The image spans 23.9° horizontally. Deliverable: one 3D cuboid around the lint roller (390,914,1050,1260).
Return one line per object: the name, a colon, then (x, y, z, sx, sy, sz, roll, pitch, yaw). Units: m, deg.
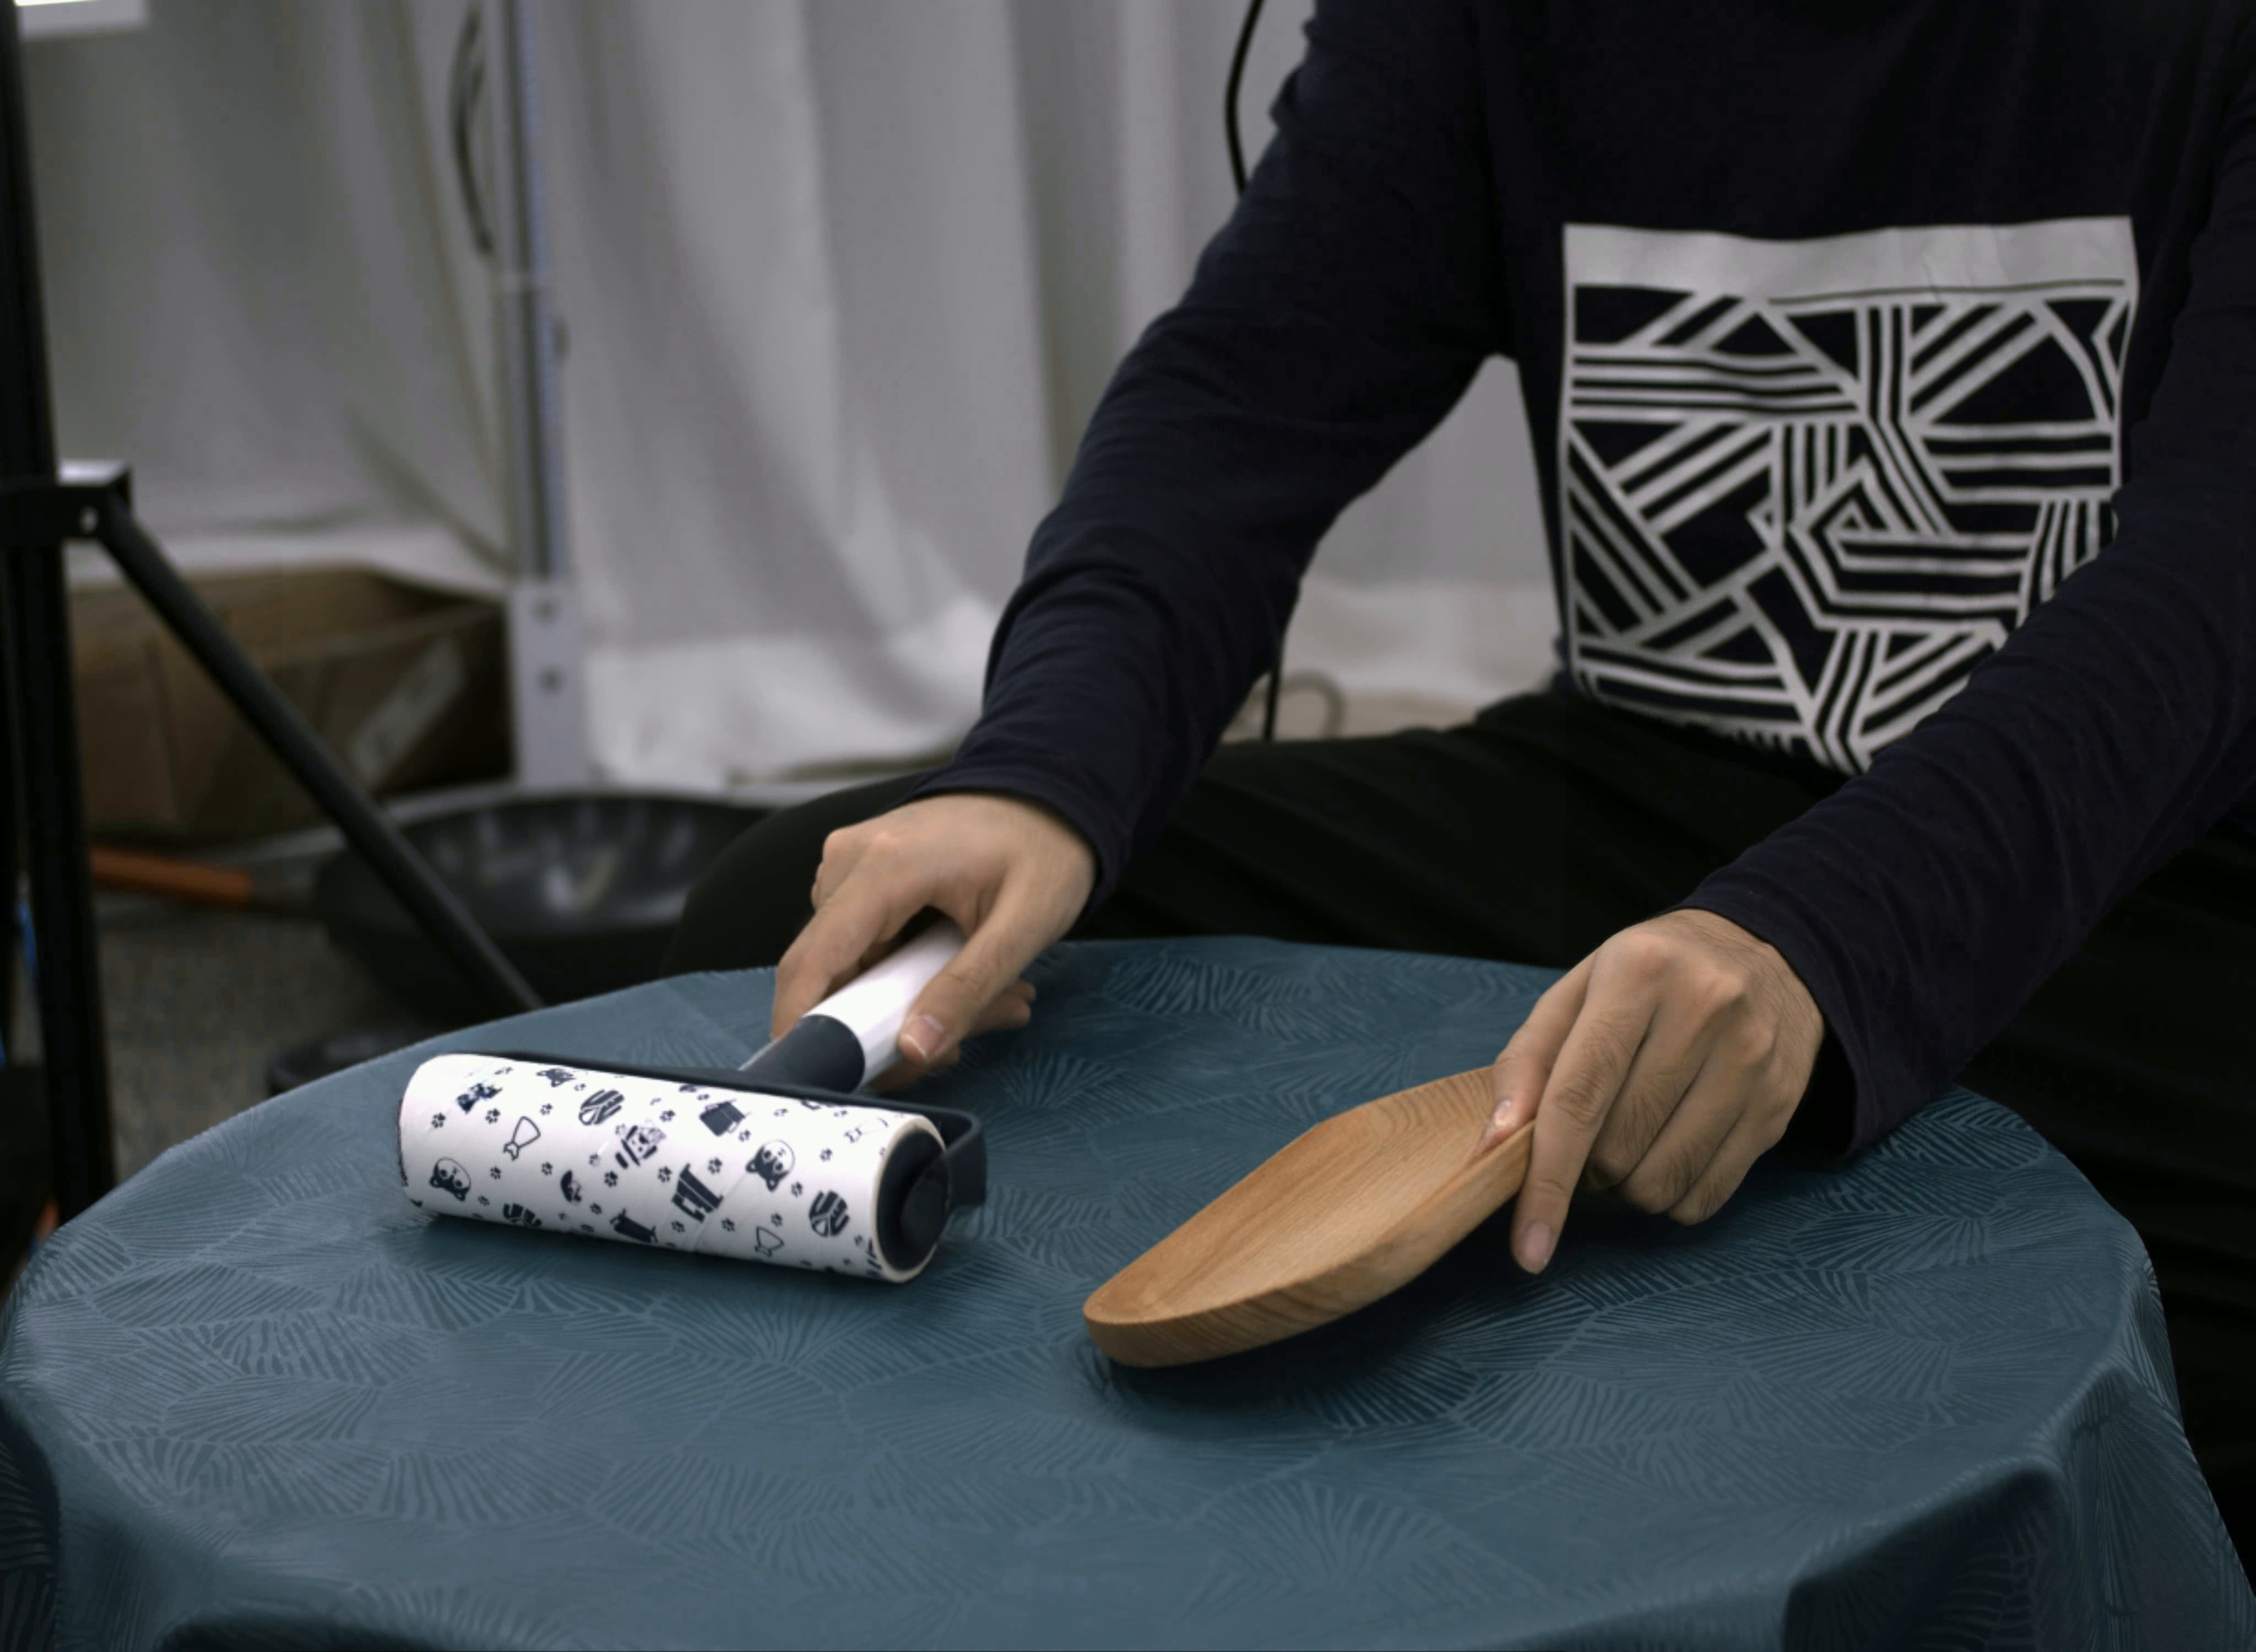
lint roller: (-0.089, 0.065, 1.618, 0.179, 0.050, 0.243, 5, 19, 27)

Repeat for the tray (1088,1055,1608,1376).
tray: (0.065, 0.107, 1.477, 0.103, 0.020, 0.228, -17, 9, 28)
